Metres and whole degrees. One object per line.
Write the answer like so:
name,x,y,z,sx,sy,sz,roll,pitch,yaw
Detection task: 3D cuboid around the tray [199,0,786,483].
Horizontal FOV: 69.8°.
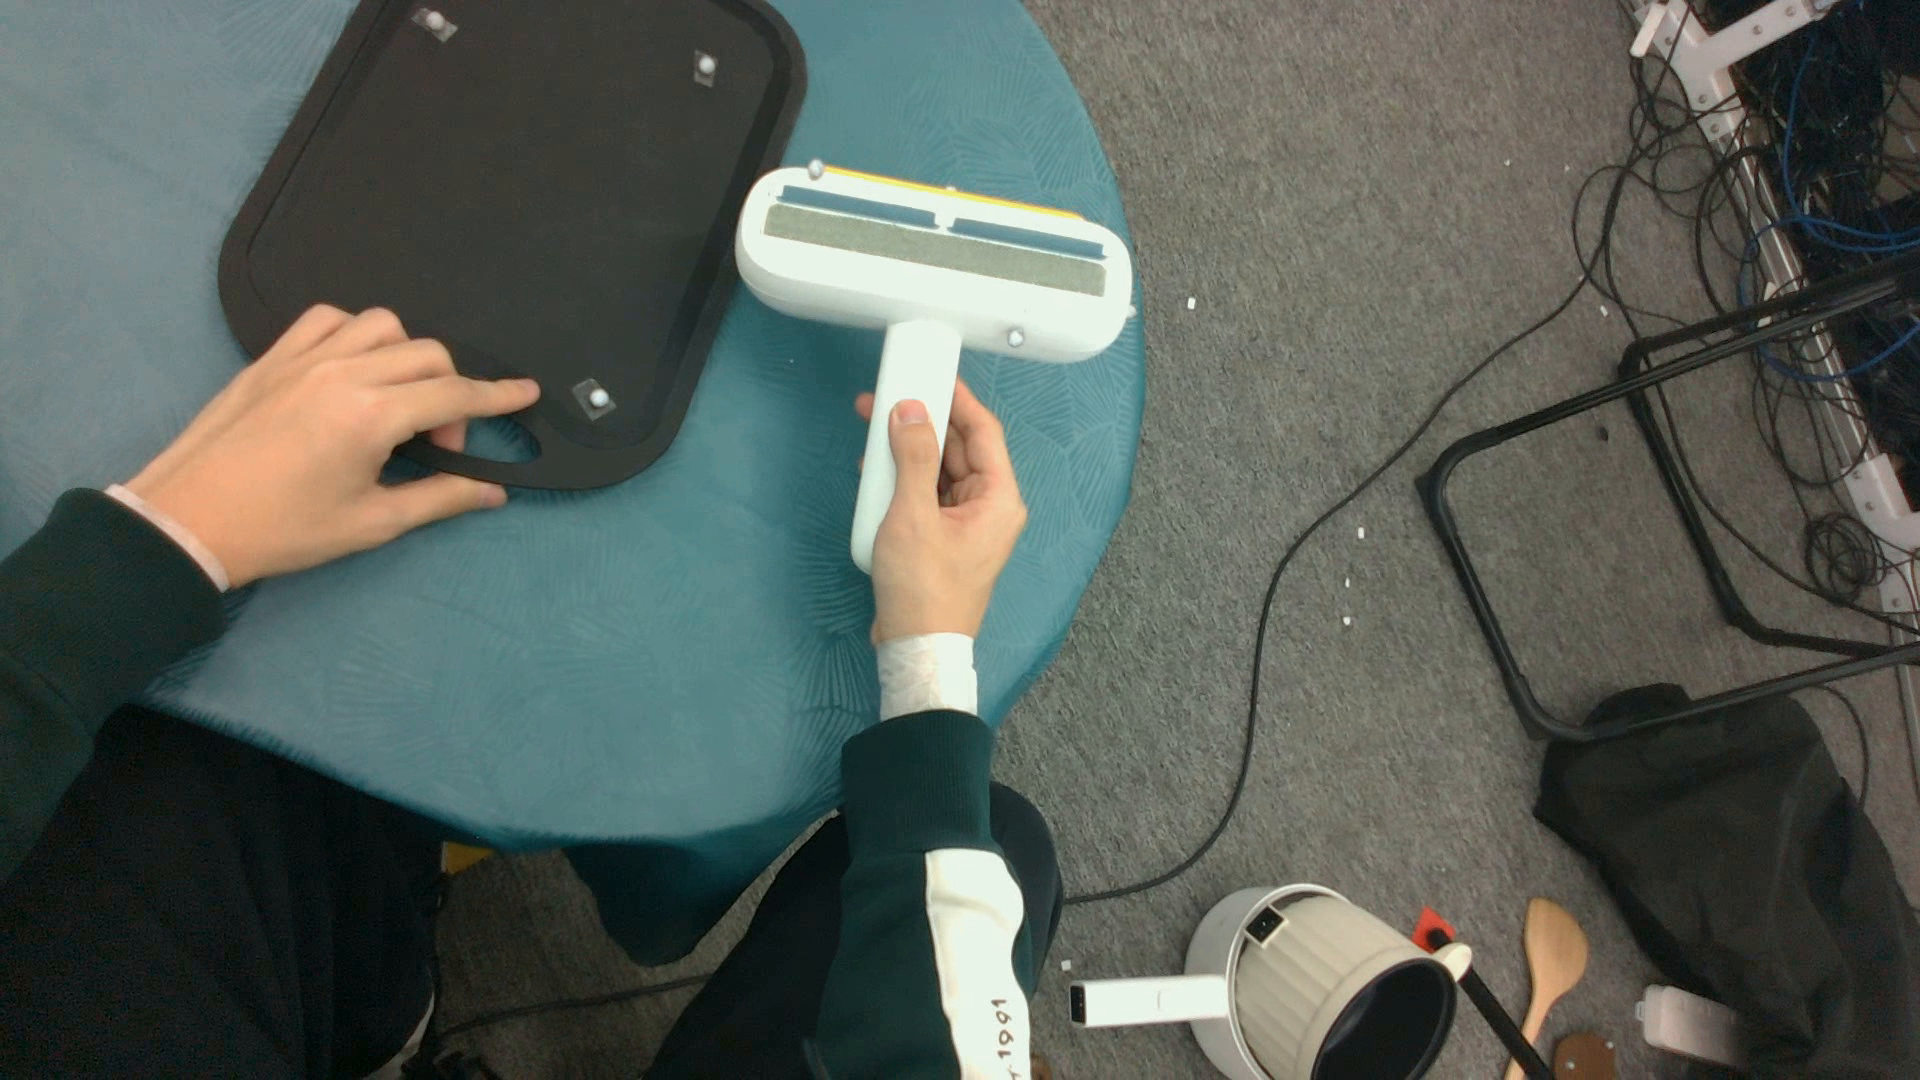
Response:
tray,-0.212,-0.184,0.670,0.211,0.010,0.326,24,65,-20

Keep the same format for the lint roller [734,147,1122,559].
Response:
lint roller,-0.031,-0.083,0.688,0.193,0.074,0.192,14,90,-7
